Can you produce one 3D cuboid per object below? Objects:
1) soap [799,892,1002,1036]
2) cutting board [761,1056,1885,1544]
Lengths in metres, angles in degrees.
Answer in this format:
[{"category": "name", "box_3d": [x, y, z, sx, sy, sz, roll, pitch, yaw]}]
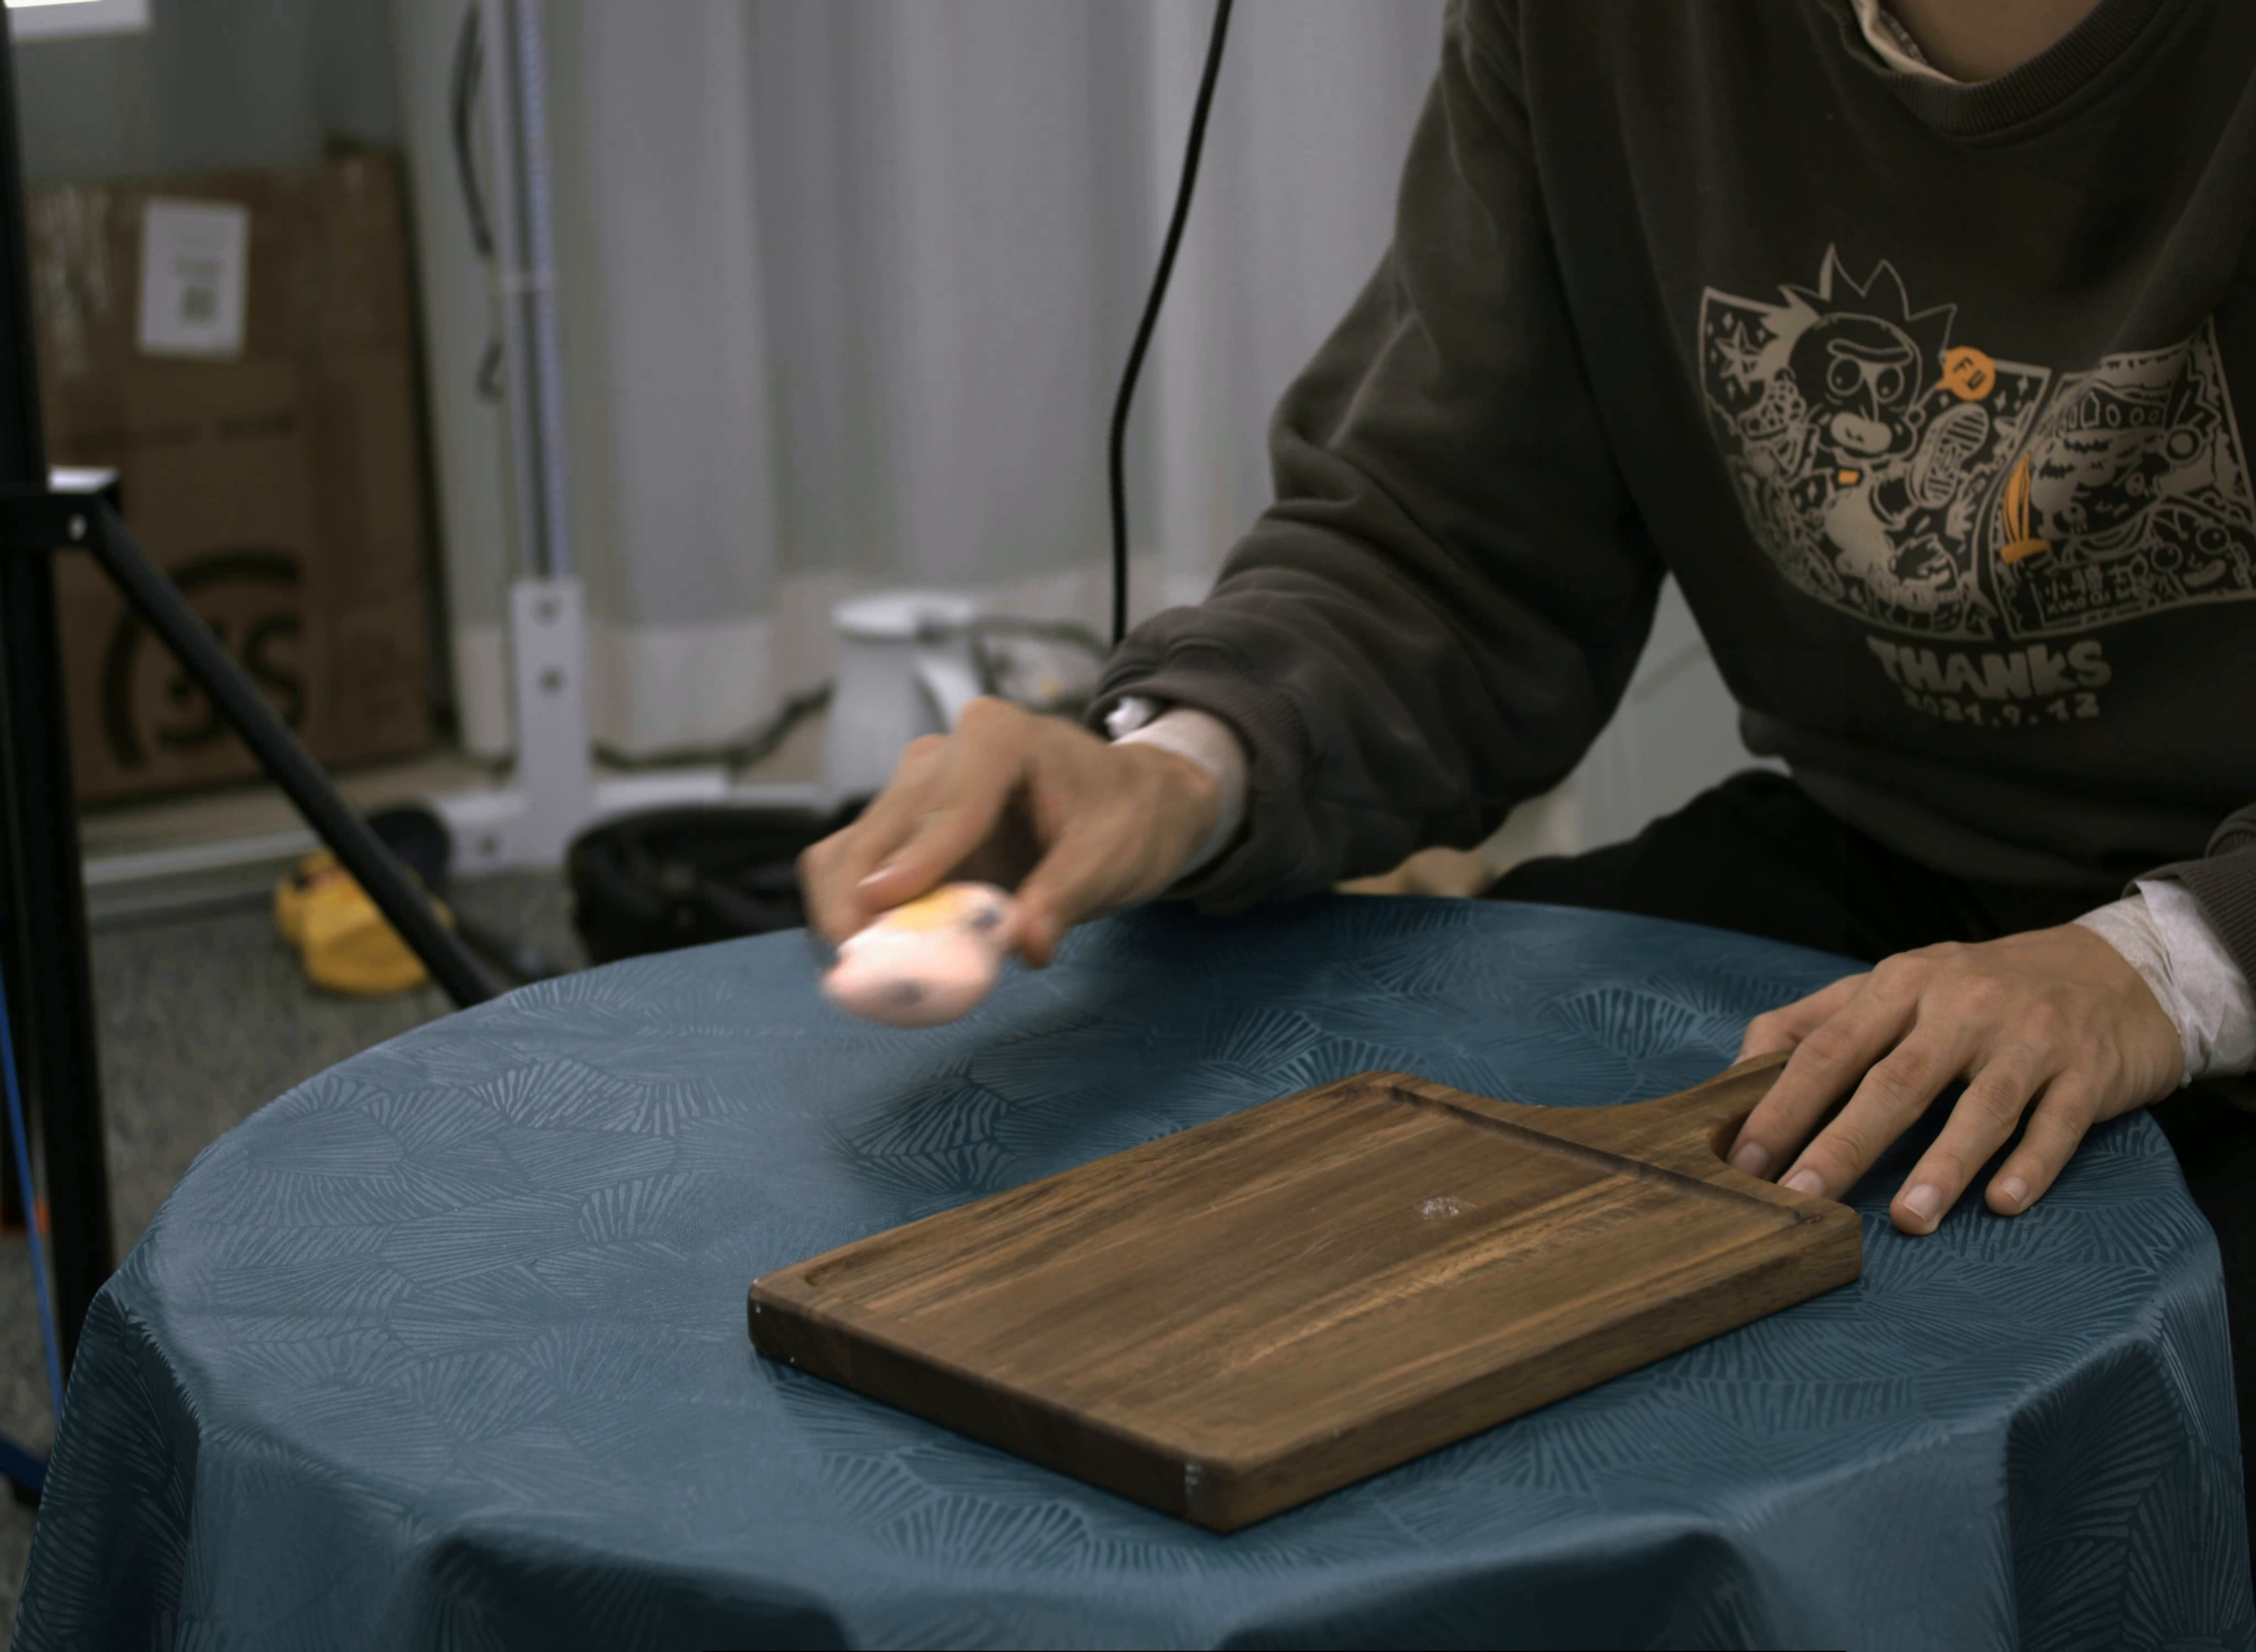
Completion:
[{"category": "soap", "box_3d": [-0.068, 0.041, 1.598, 0.050, 0.030, 0.094, -3, 11, 10]}, {"category": "cutting board", "box_3d": [0.091, 0.116, 1.477, 0.344, 0.023, 0.206, -15, 20, -38]}]
